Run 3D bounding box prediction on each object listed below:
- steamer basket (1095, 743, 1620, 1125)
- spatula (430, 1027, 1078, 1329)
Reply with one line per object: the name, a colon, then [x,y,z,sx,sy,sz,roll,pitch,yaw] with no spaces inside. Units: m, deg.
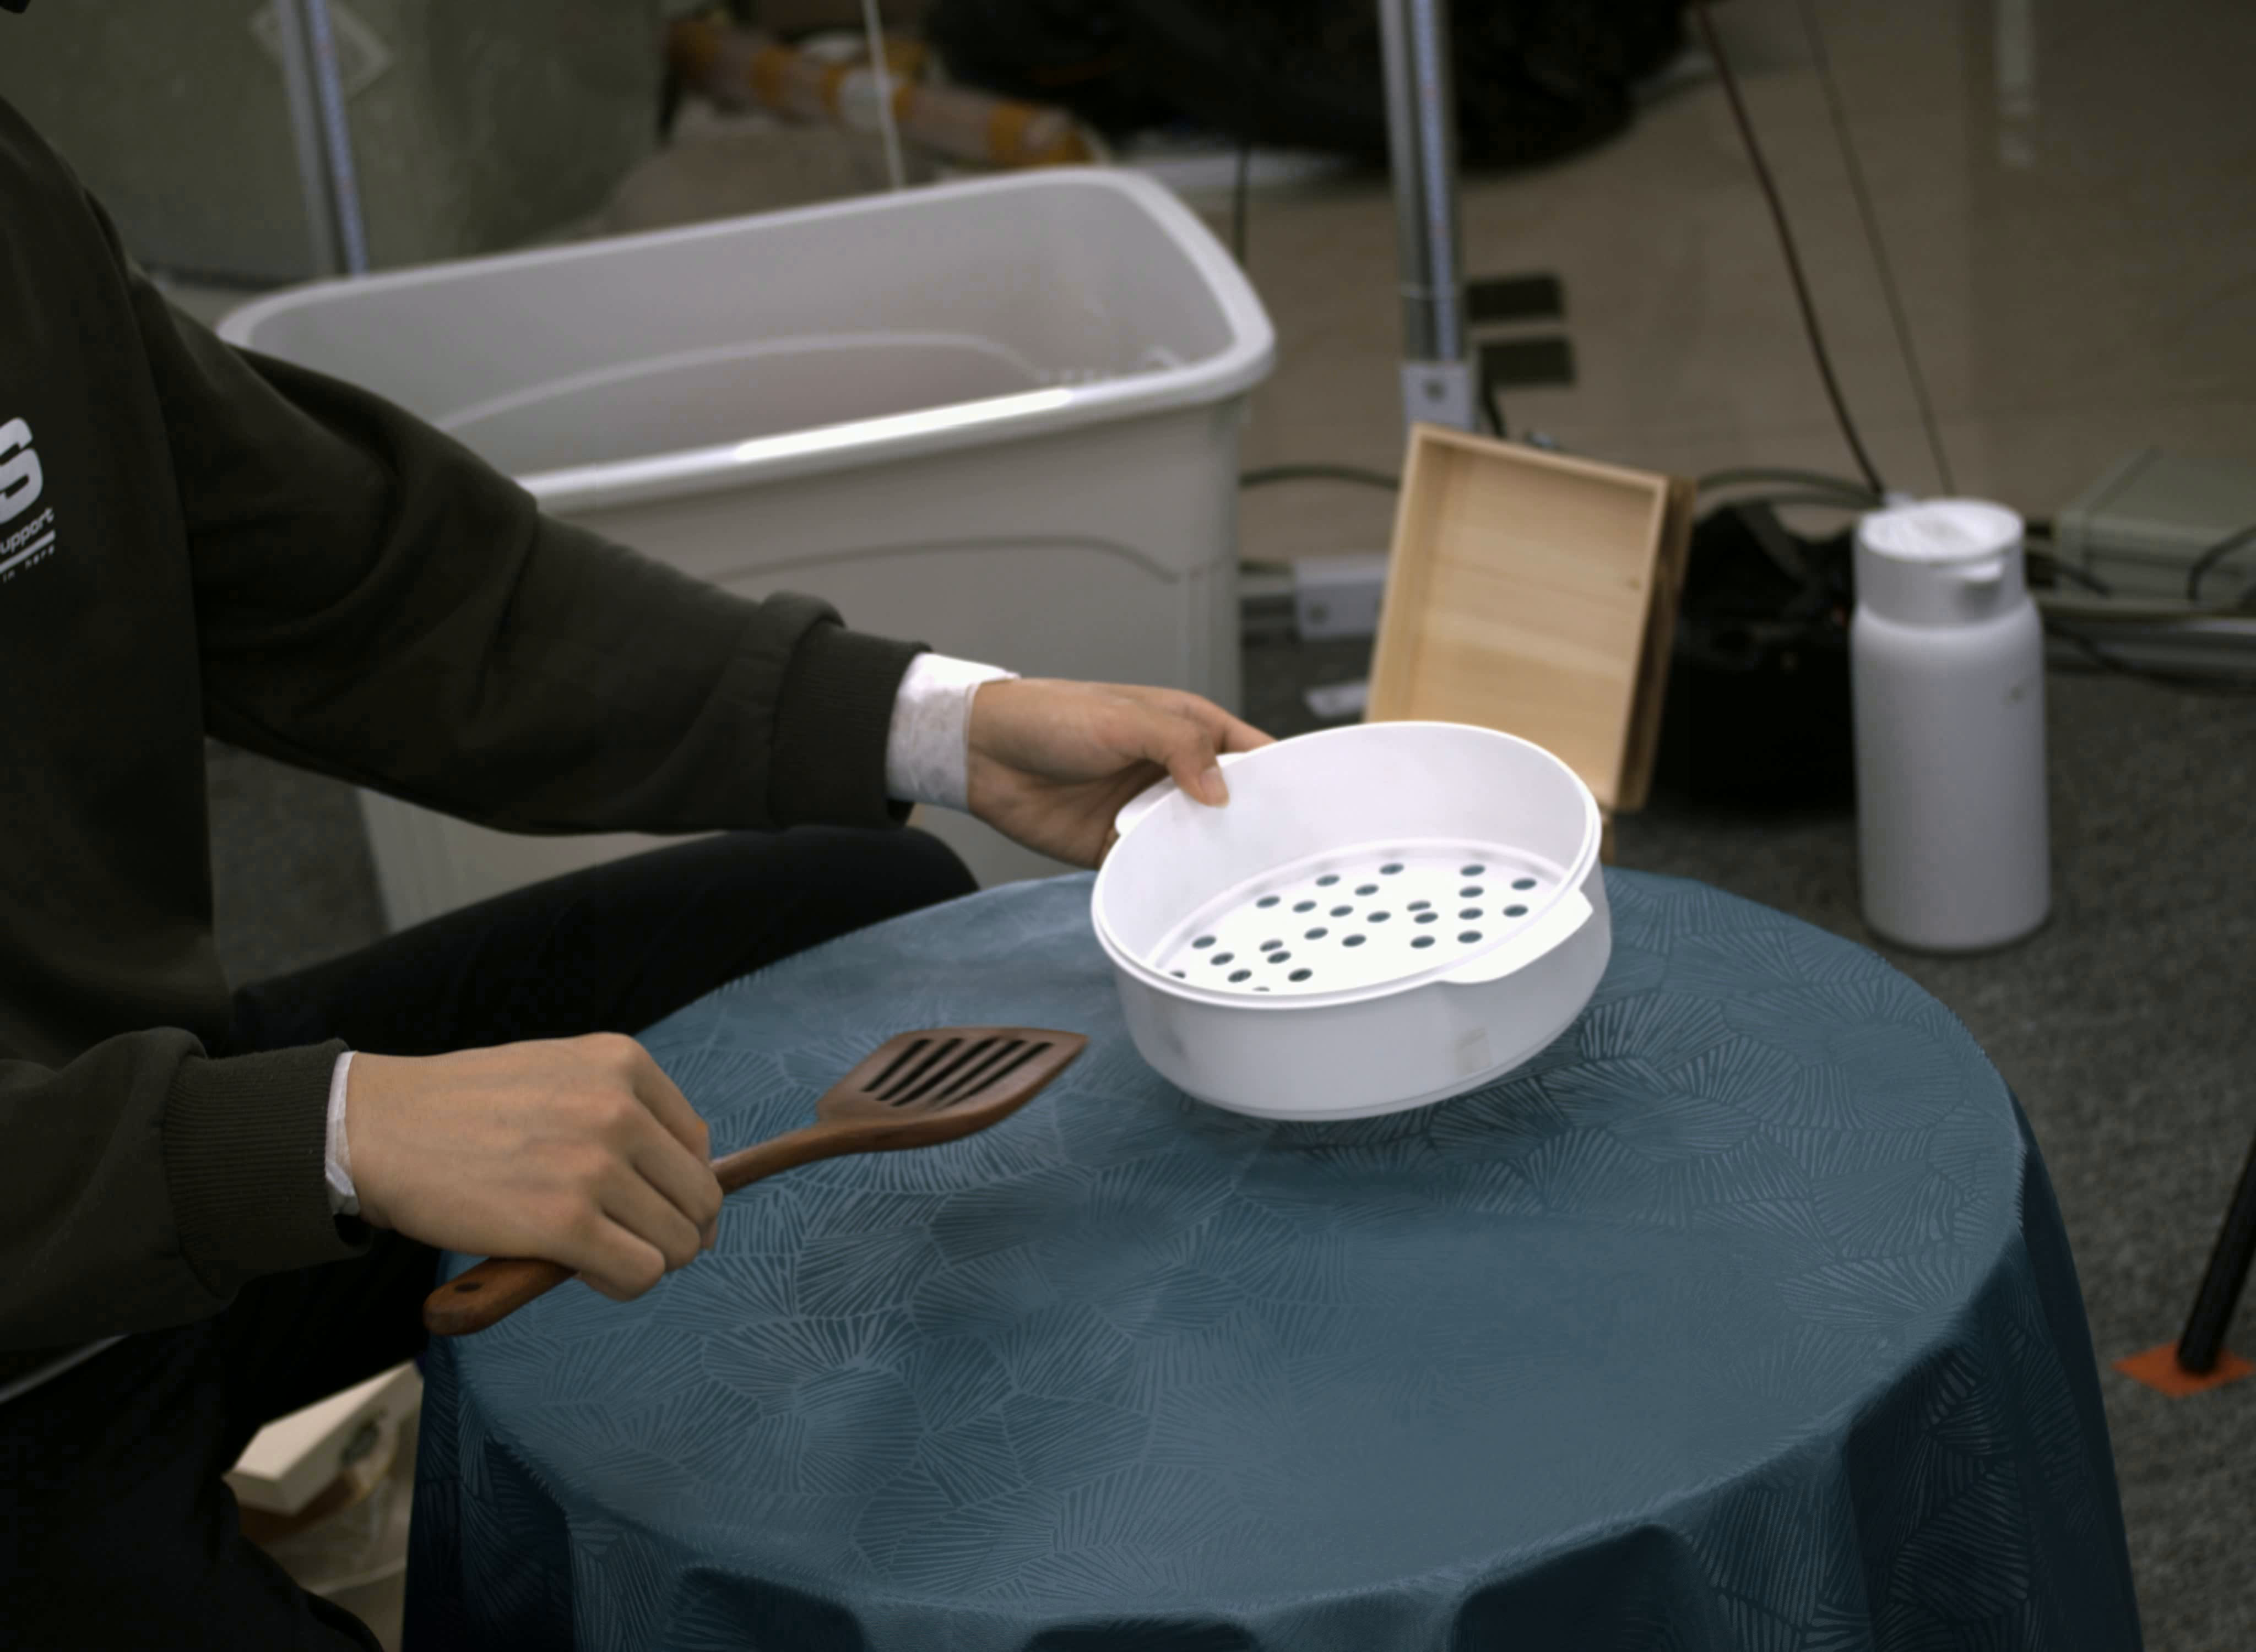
steamer basket: [0.091,0.042,2.197,0.200,0.070,0.228,-30,30,-28]
spatula: [-0.133,0.121,1.987,0.085,0.024,0.383,0,10,26]
